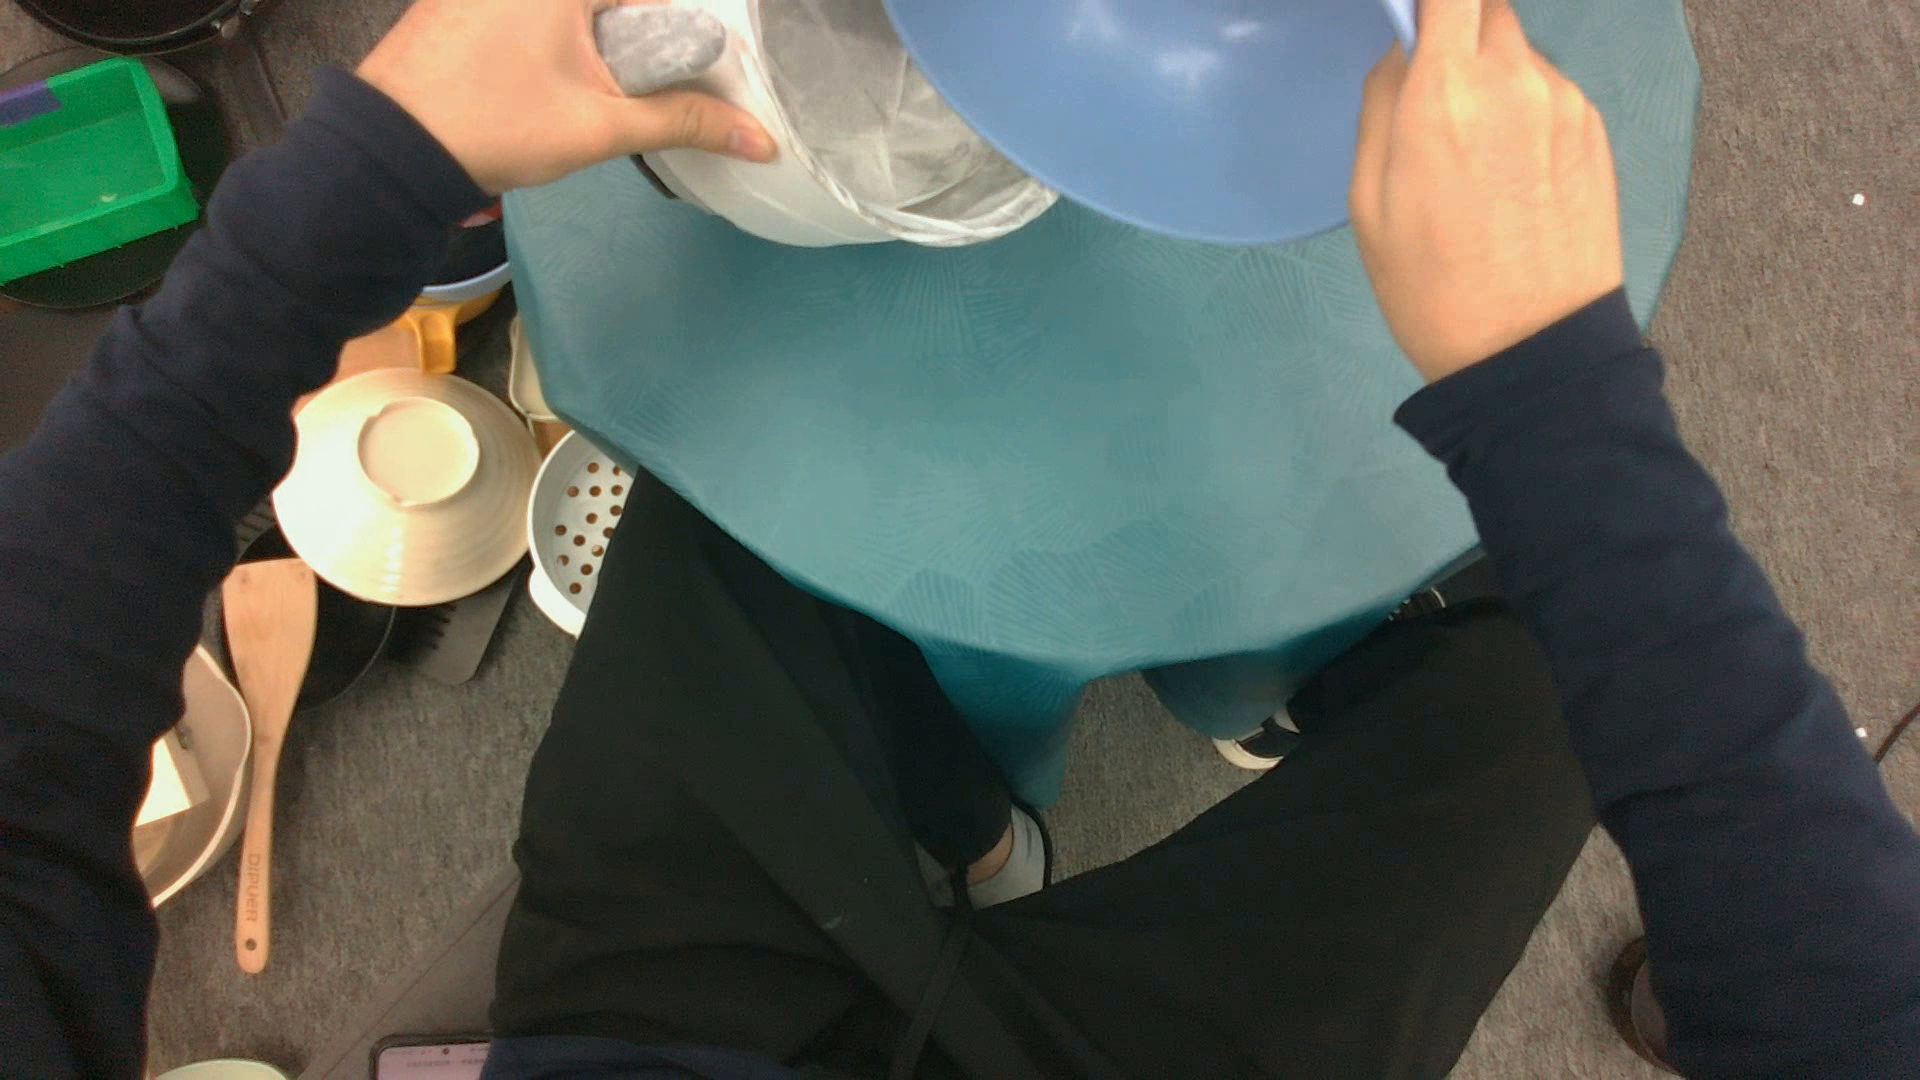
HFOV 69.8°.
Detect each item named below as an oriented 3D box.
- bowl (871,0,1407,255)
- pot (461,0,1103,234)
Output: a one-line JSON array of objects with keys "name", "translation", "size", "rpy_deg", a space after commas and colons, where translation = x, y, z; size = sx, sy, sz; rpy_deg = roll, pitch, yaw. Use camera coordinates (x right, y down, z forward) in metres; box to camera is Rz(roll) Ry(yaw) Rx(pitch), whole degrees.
[{"name": "bowl", "translation": [0.071, -0.203, 0.480], "size": [0.196, 0.196, 0.096], "rpy_deg": [33, 68, 0]}, {"name": "pot", "translation": [-0.069, -0.204, 0.543], "size": [0.235, 0.136, 0.178], "rpy_deg": [-29, 115, -34]}]
